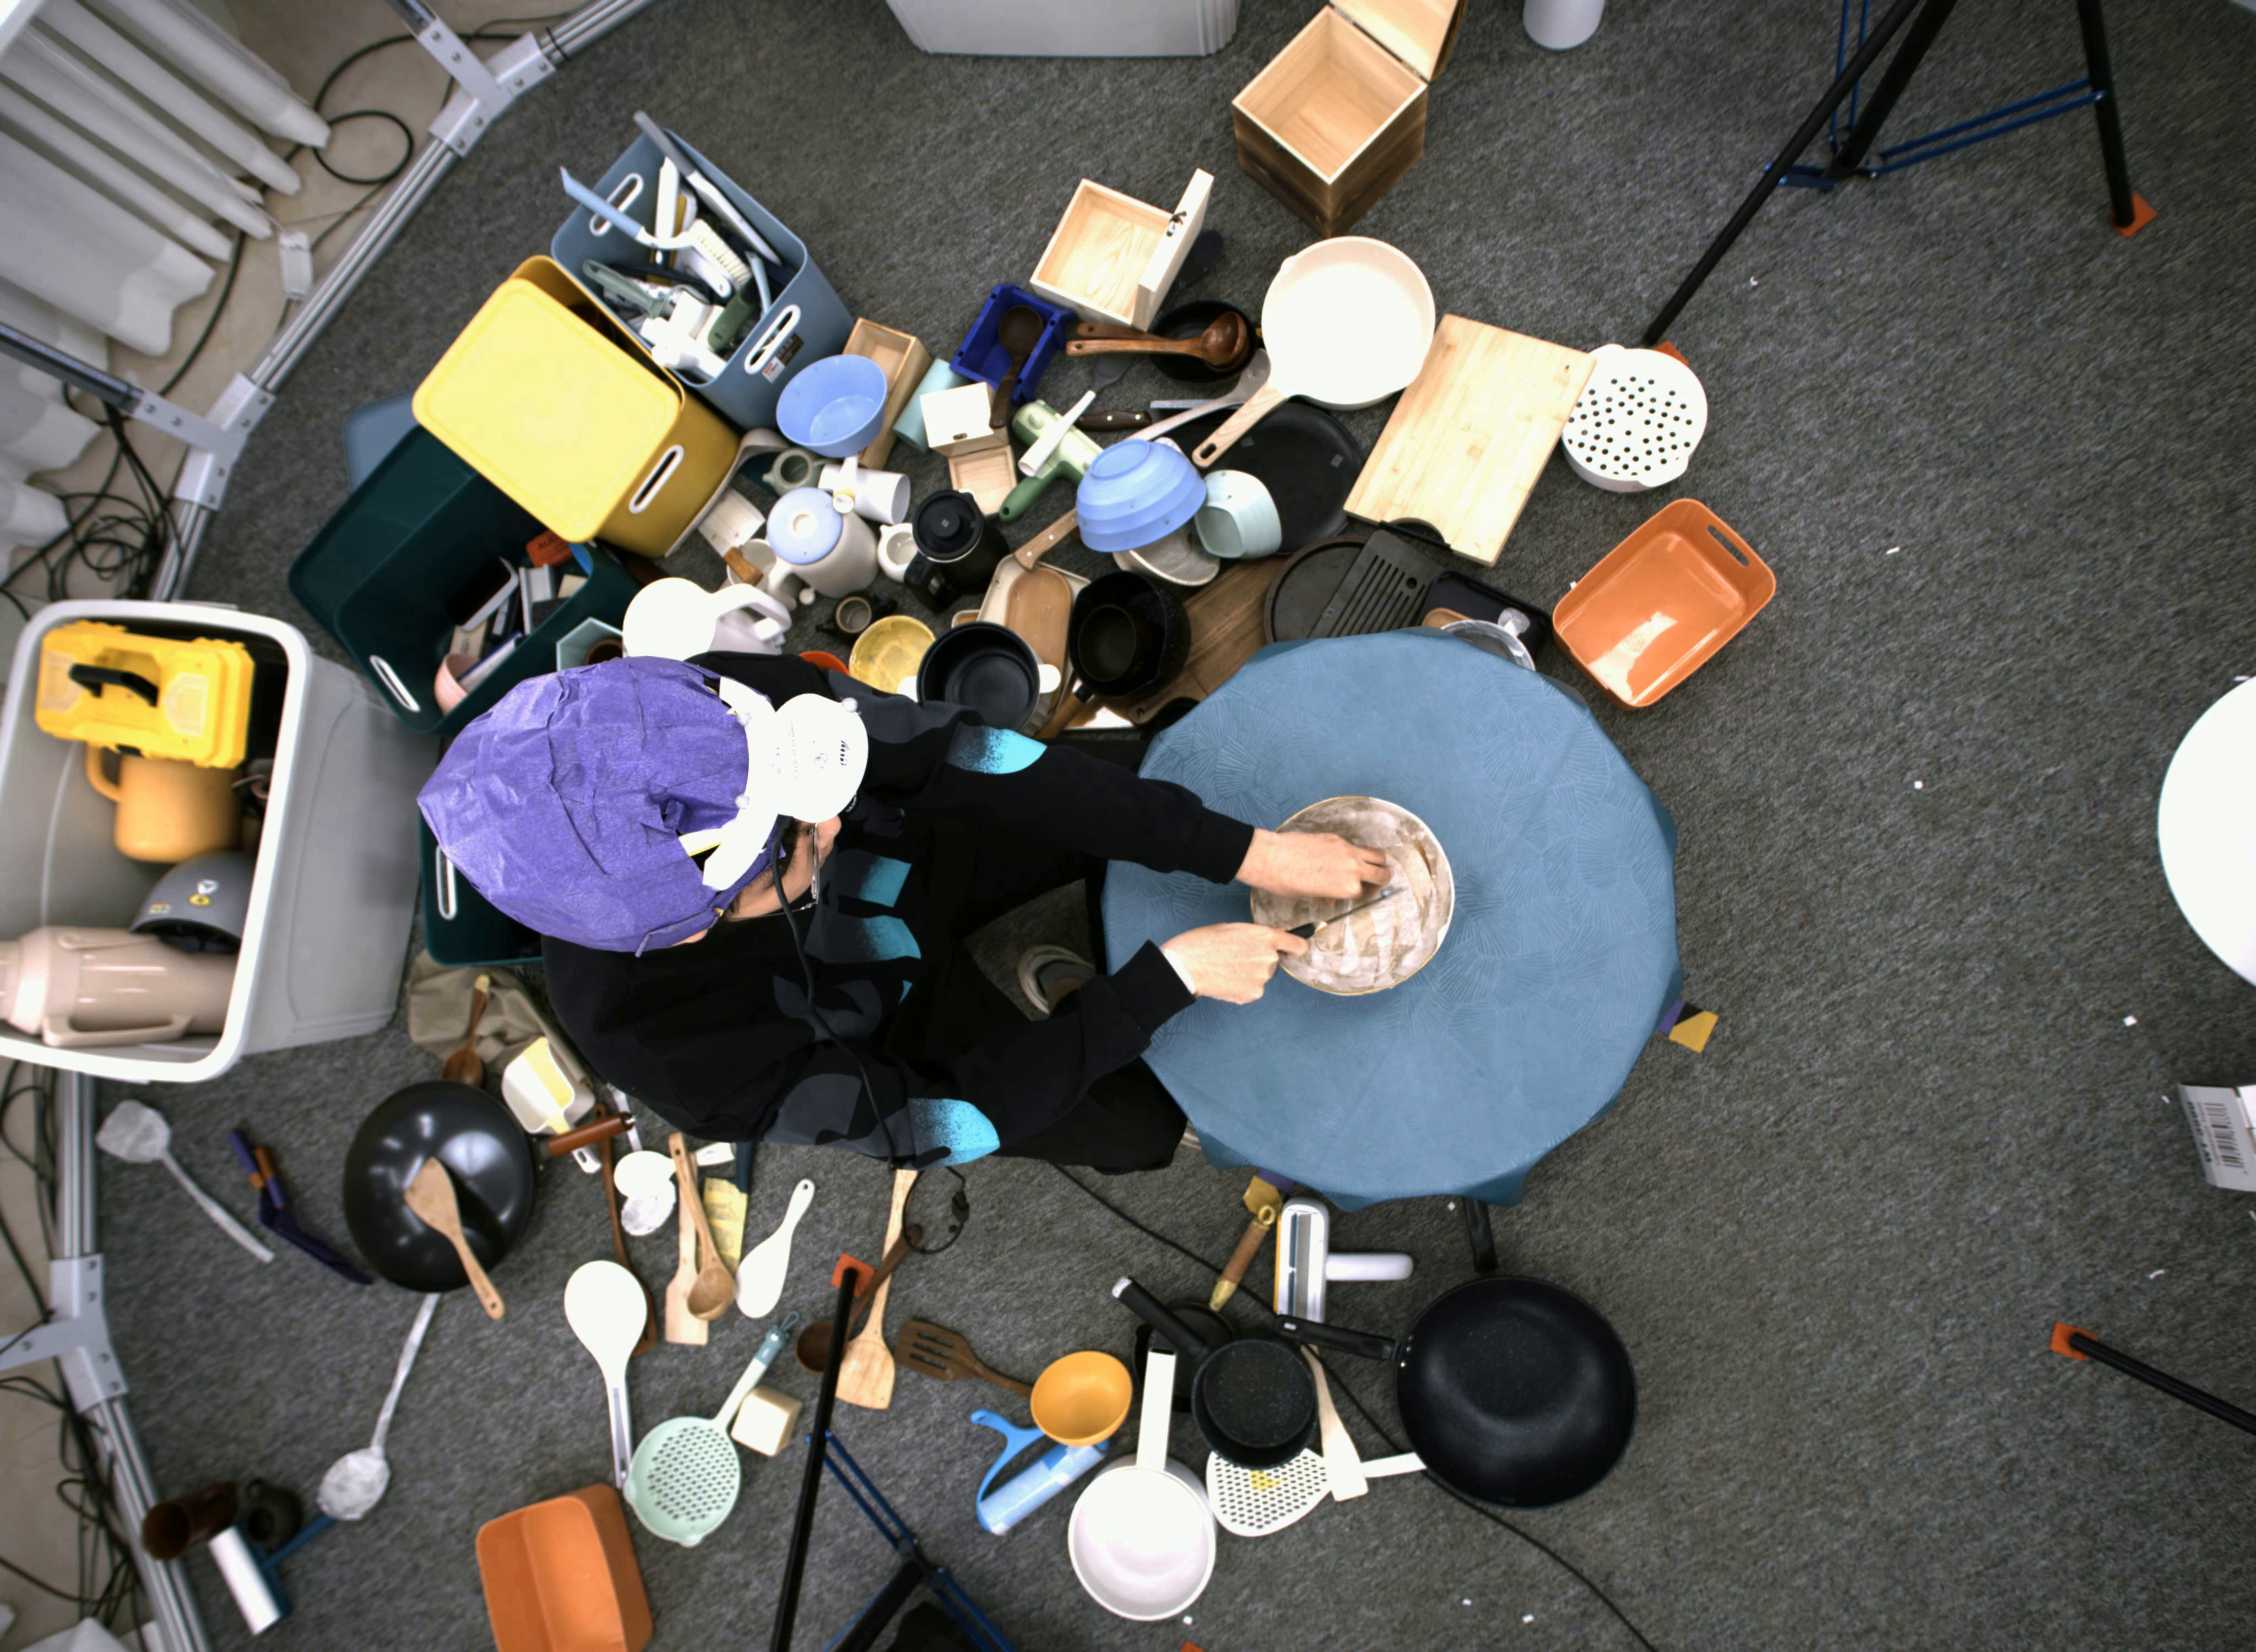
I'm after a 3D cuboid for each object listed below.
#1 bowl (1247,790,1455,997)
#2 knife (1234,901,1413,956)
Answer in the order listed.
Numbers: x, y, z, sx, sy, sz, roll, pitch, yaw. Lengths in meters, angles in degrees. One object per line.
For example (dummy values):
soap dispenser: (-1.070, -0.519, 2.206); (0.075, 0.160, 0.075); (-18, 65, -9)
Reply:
bowl: (0.226, 0.070, 1.420); (0.215, 0.094, 0.214); (-1, 87, 10)
knife: (0.201, 0.096, 1.391); (0.223, 0.017, 0.026); (-12, 106, -28)
